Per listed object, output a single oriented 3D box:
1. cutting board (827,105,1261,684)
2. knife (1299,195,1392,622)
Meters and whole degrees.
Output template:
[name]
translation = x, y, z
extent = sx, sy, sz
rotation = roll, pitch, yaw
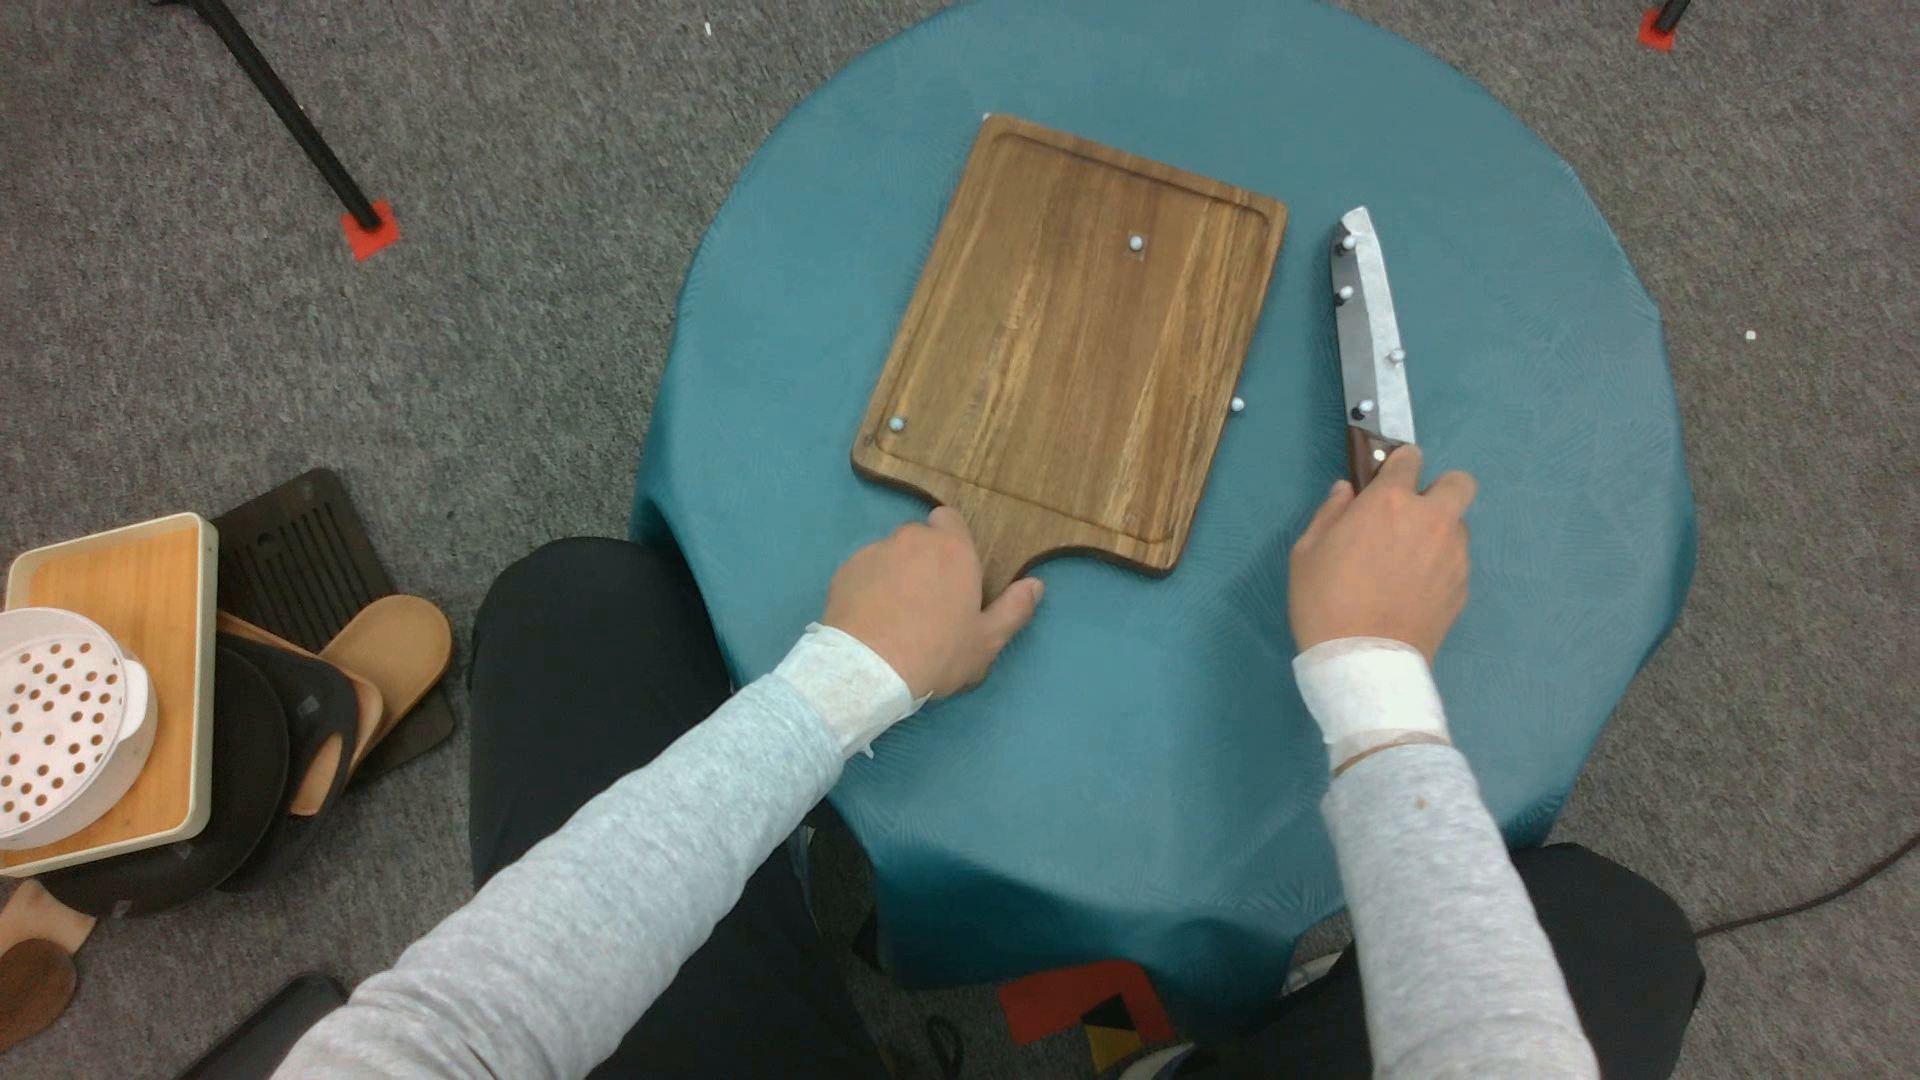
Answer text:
[cutting board]
translation = 0.039, -0.084, 0.794
extent = 0.201, 0.023, 0.353
rotation = 18, 71, 4
[knife]
translation = 0.223, -0.086, 0.794
extent = 0.050, 0.020, 0.290
rotation = 12, 63, -16
